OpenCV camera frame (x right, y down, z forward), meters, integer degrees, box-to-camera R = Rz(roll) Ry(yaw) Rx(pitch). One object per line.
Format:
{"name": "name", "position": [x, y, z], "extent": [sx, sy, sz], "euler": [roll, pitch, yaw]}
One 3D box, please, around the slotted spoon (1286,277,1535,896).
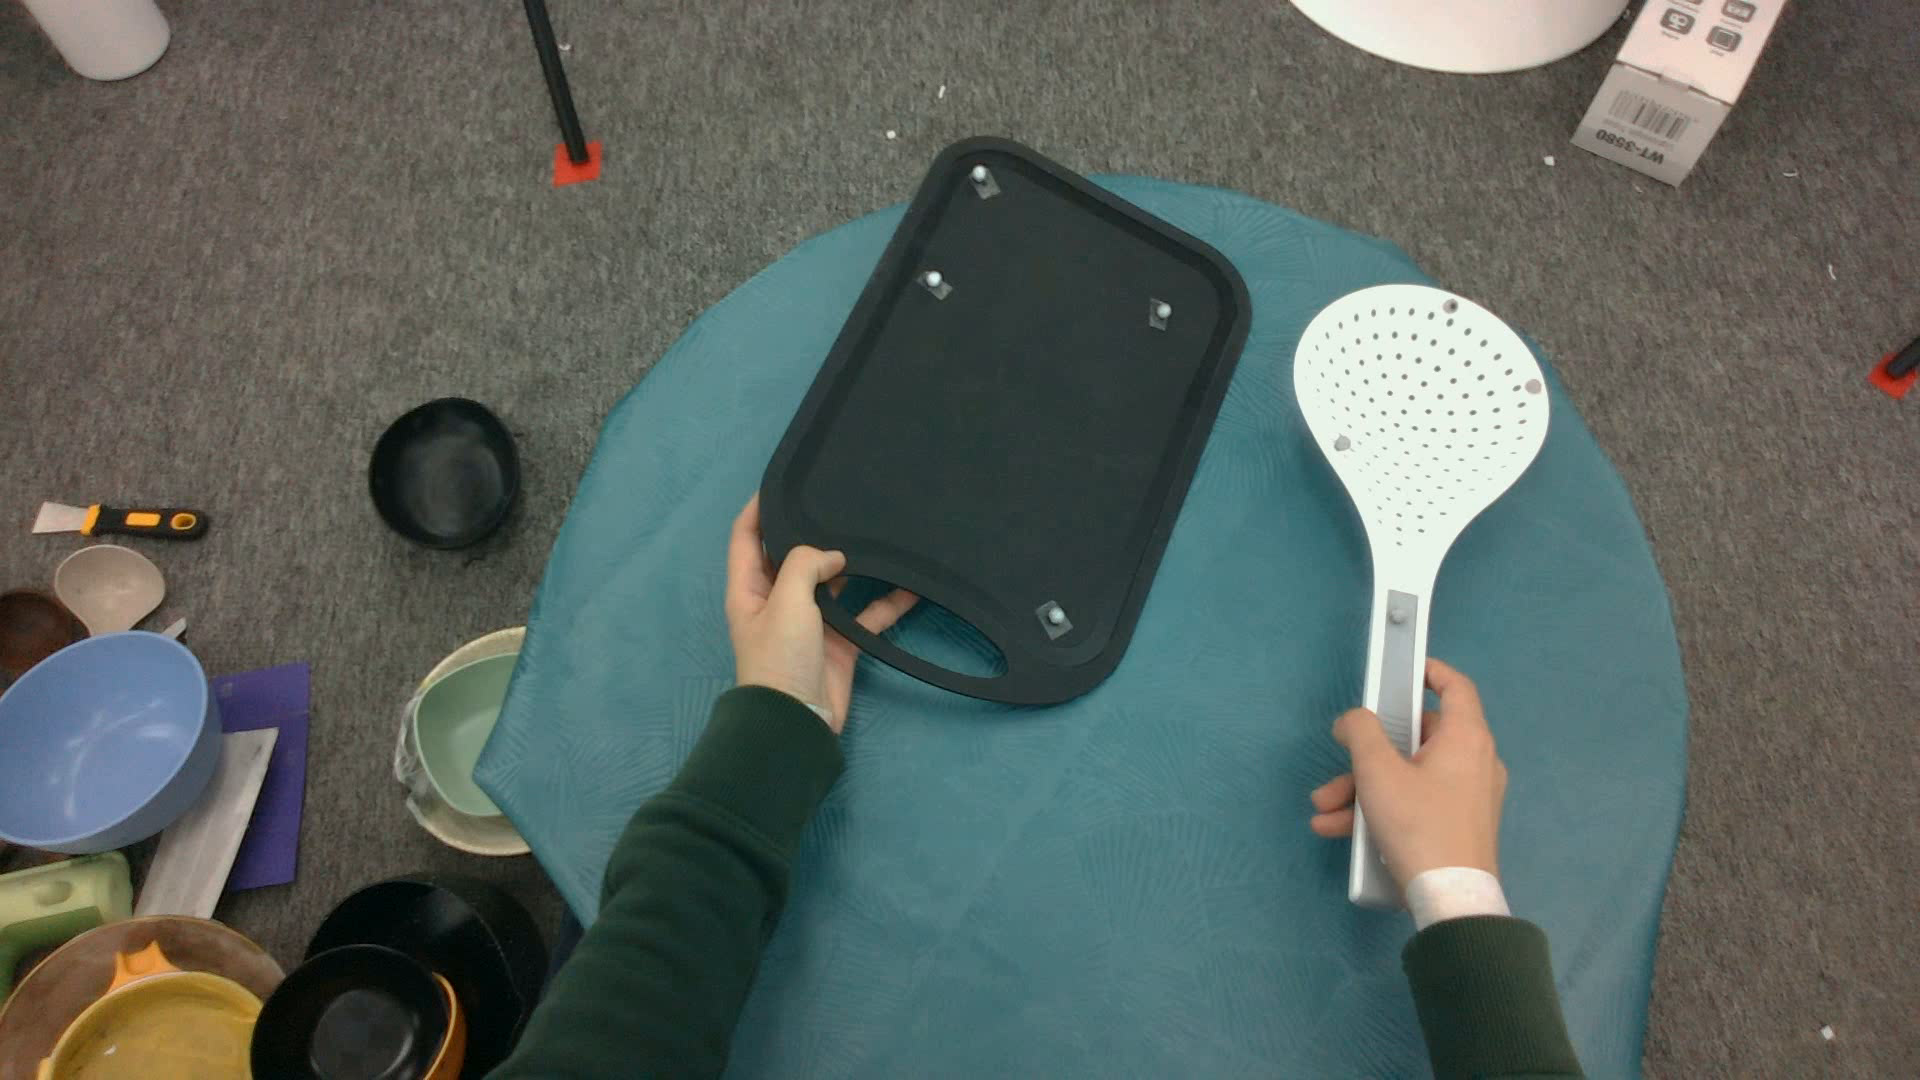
{"name": "slotted spoon", "position": [0.221, 0.008, 0.703], "extent": [0.136, 0.045, 0.351], "euler": [12, 58, 4]}

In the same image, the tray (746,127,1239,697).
{"name": "tray", "position": [0.026, -0.075, 0.745], "extent": [0.211, 0.010, 0.327], "euler": [27, 65, -6]}
